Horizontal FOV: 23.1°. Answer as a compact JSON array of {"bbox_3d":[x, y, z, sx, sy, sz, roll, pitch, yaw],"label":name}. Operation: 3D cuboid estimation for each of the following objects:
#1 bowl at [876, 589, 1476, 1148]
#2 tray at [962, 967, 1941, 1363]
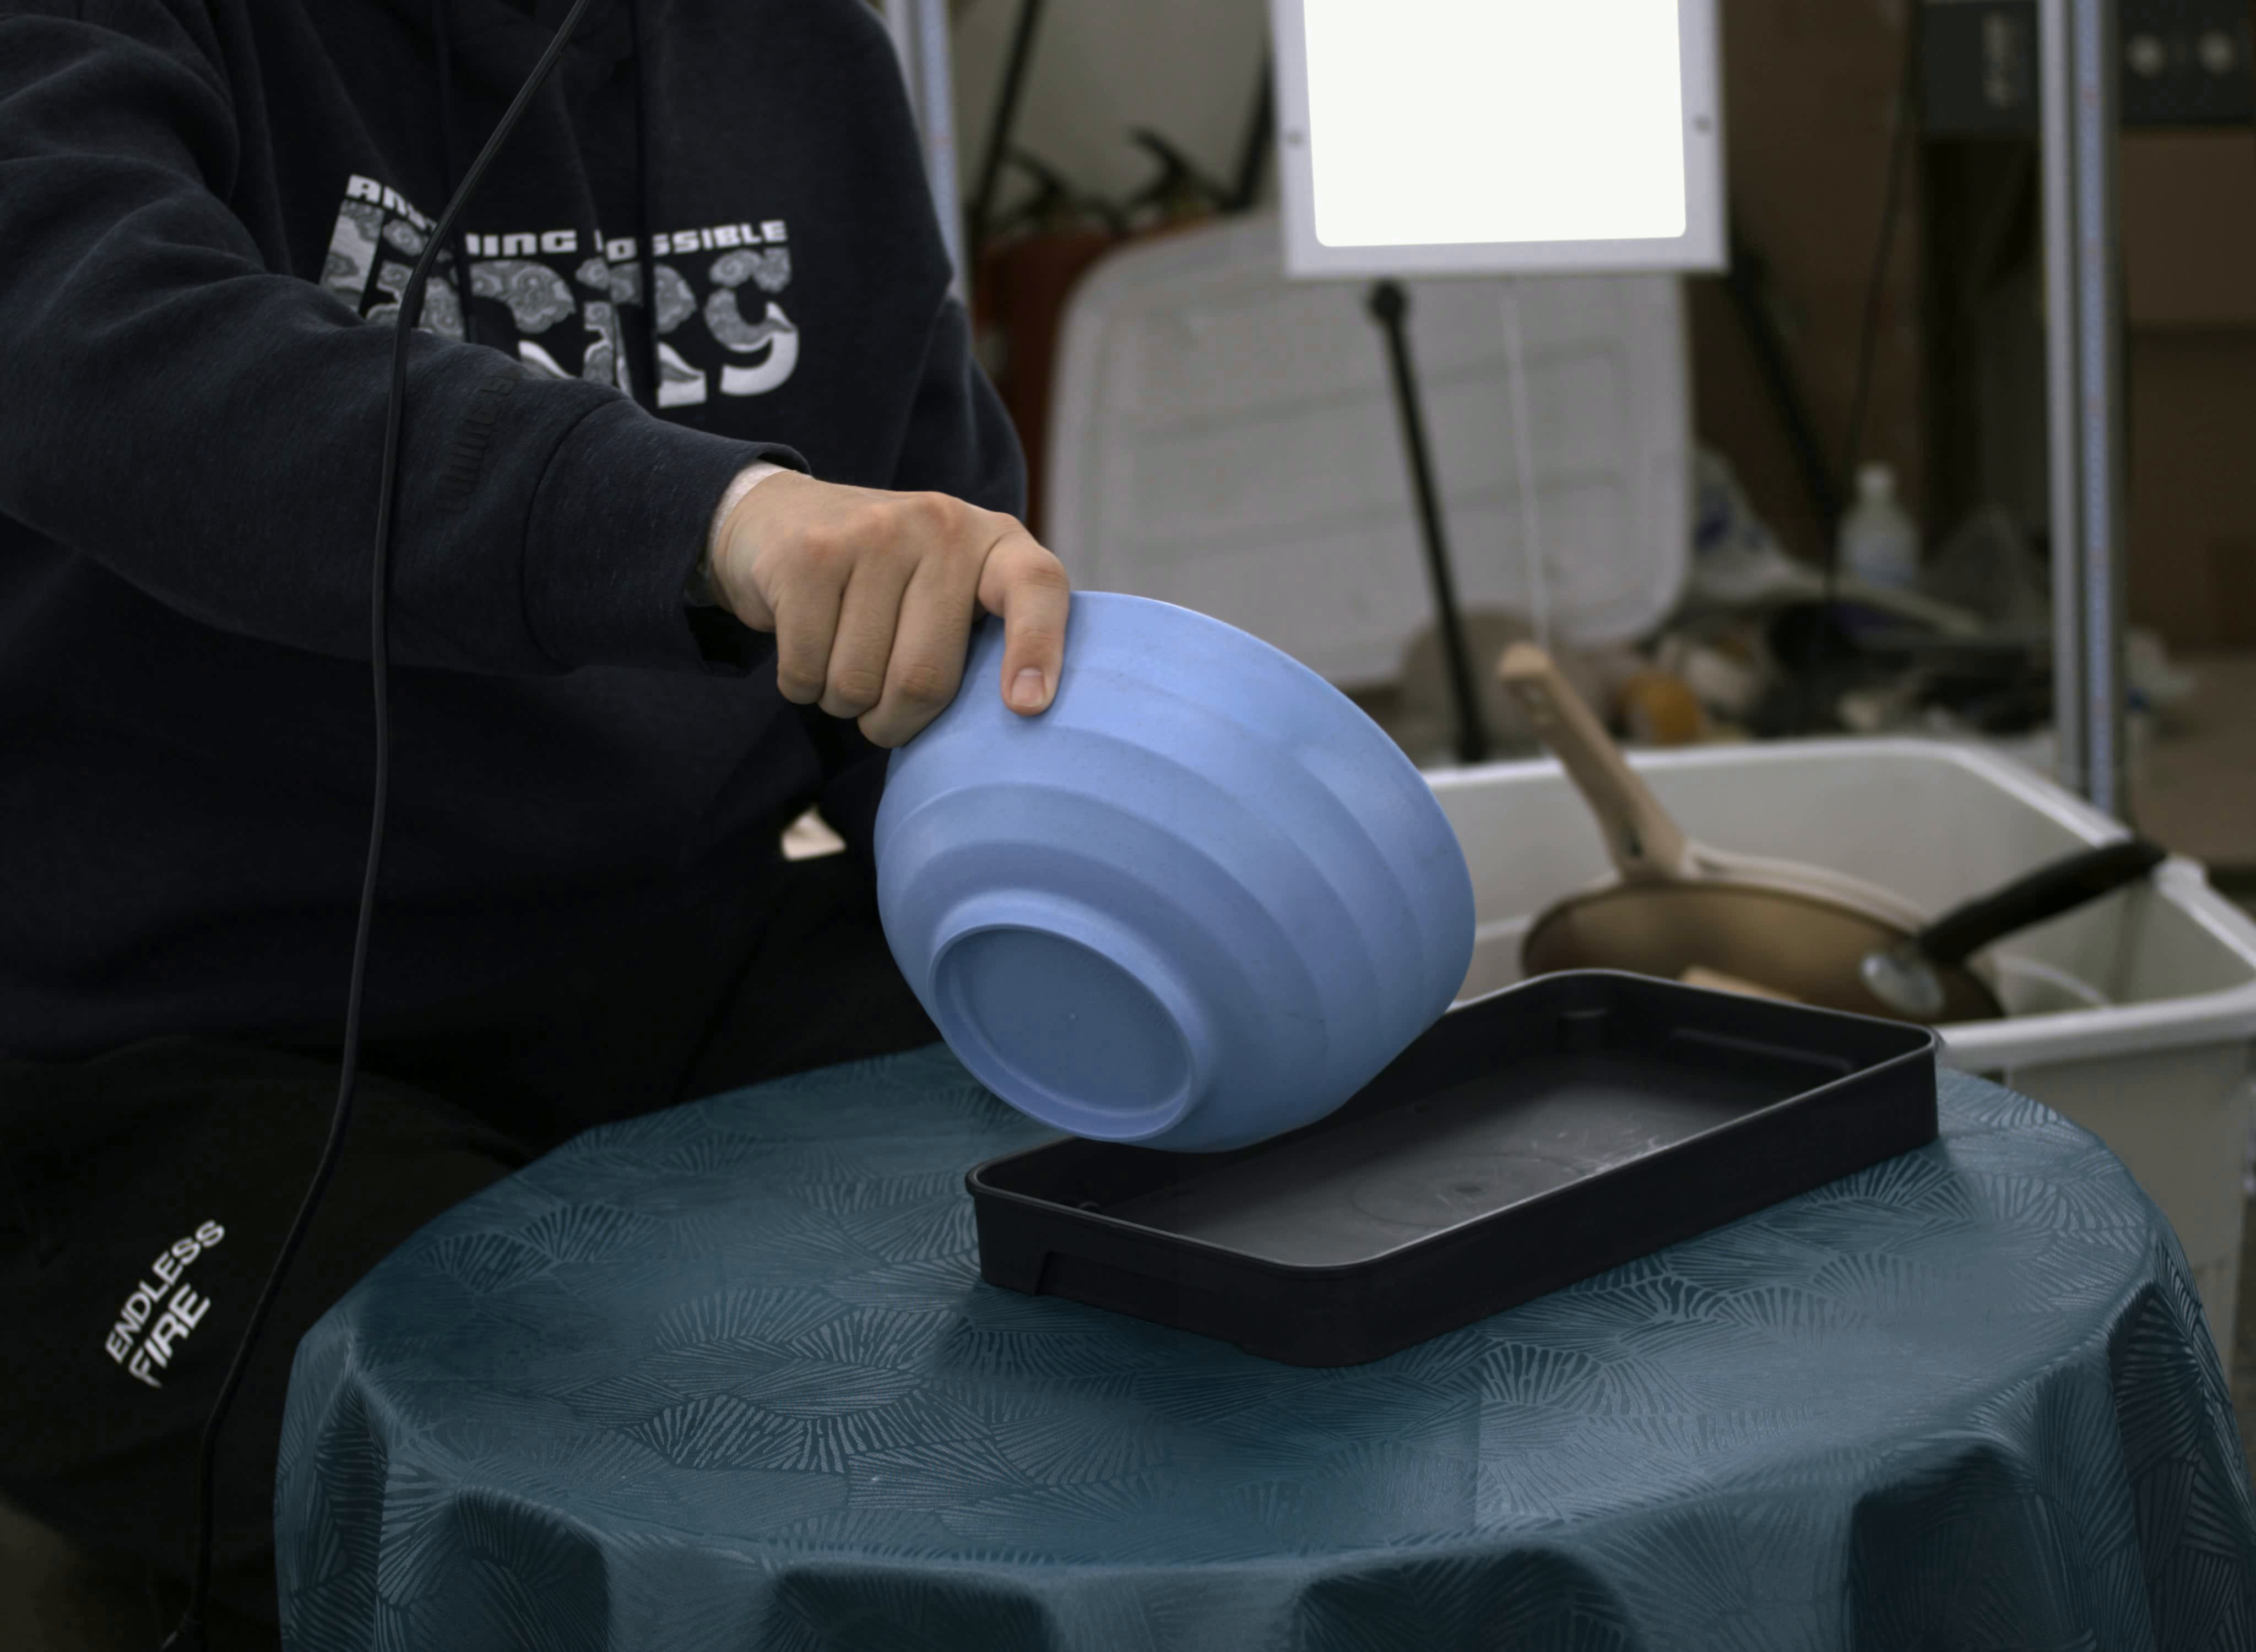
[{"bbox_3d":[-0.001,0.031,1.694,0.200,0.195,0.094,5,45,34],"label":"bowl"},{"bbox_3d":[0.114,0.109,1.850,0.310,0.037,0.188,-16,17,-39],"label":"tray"}]
